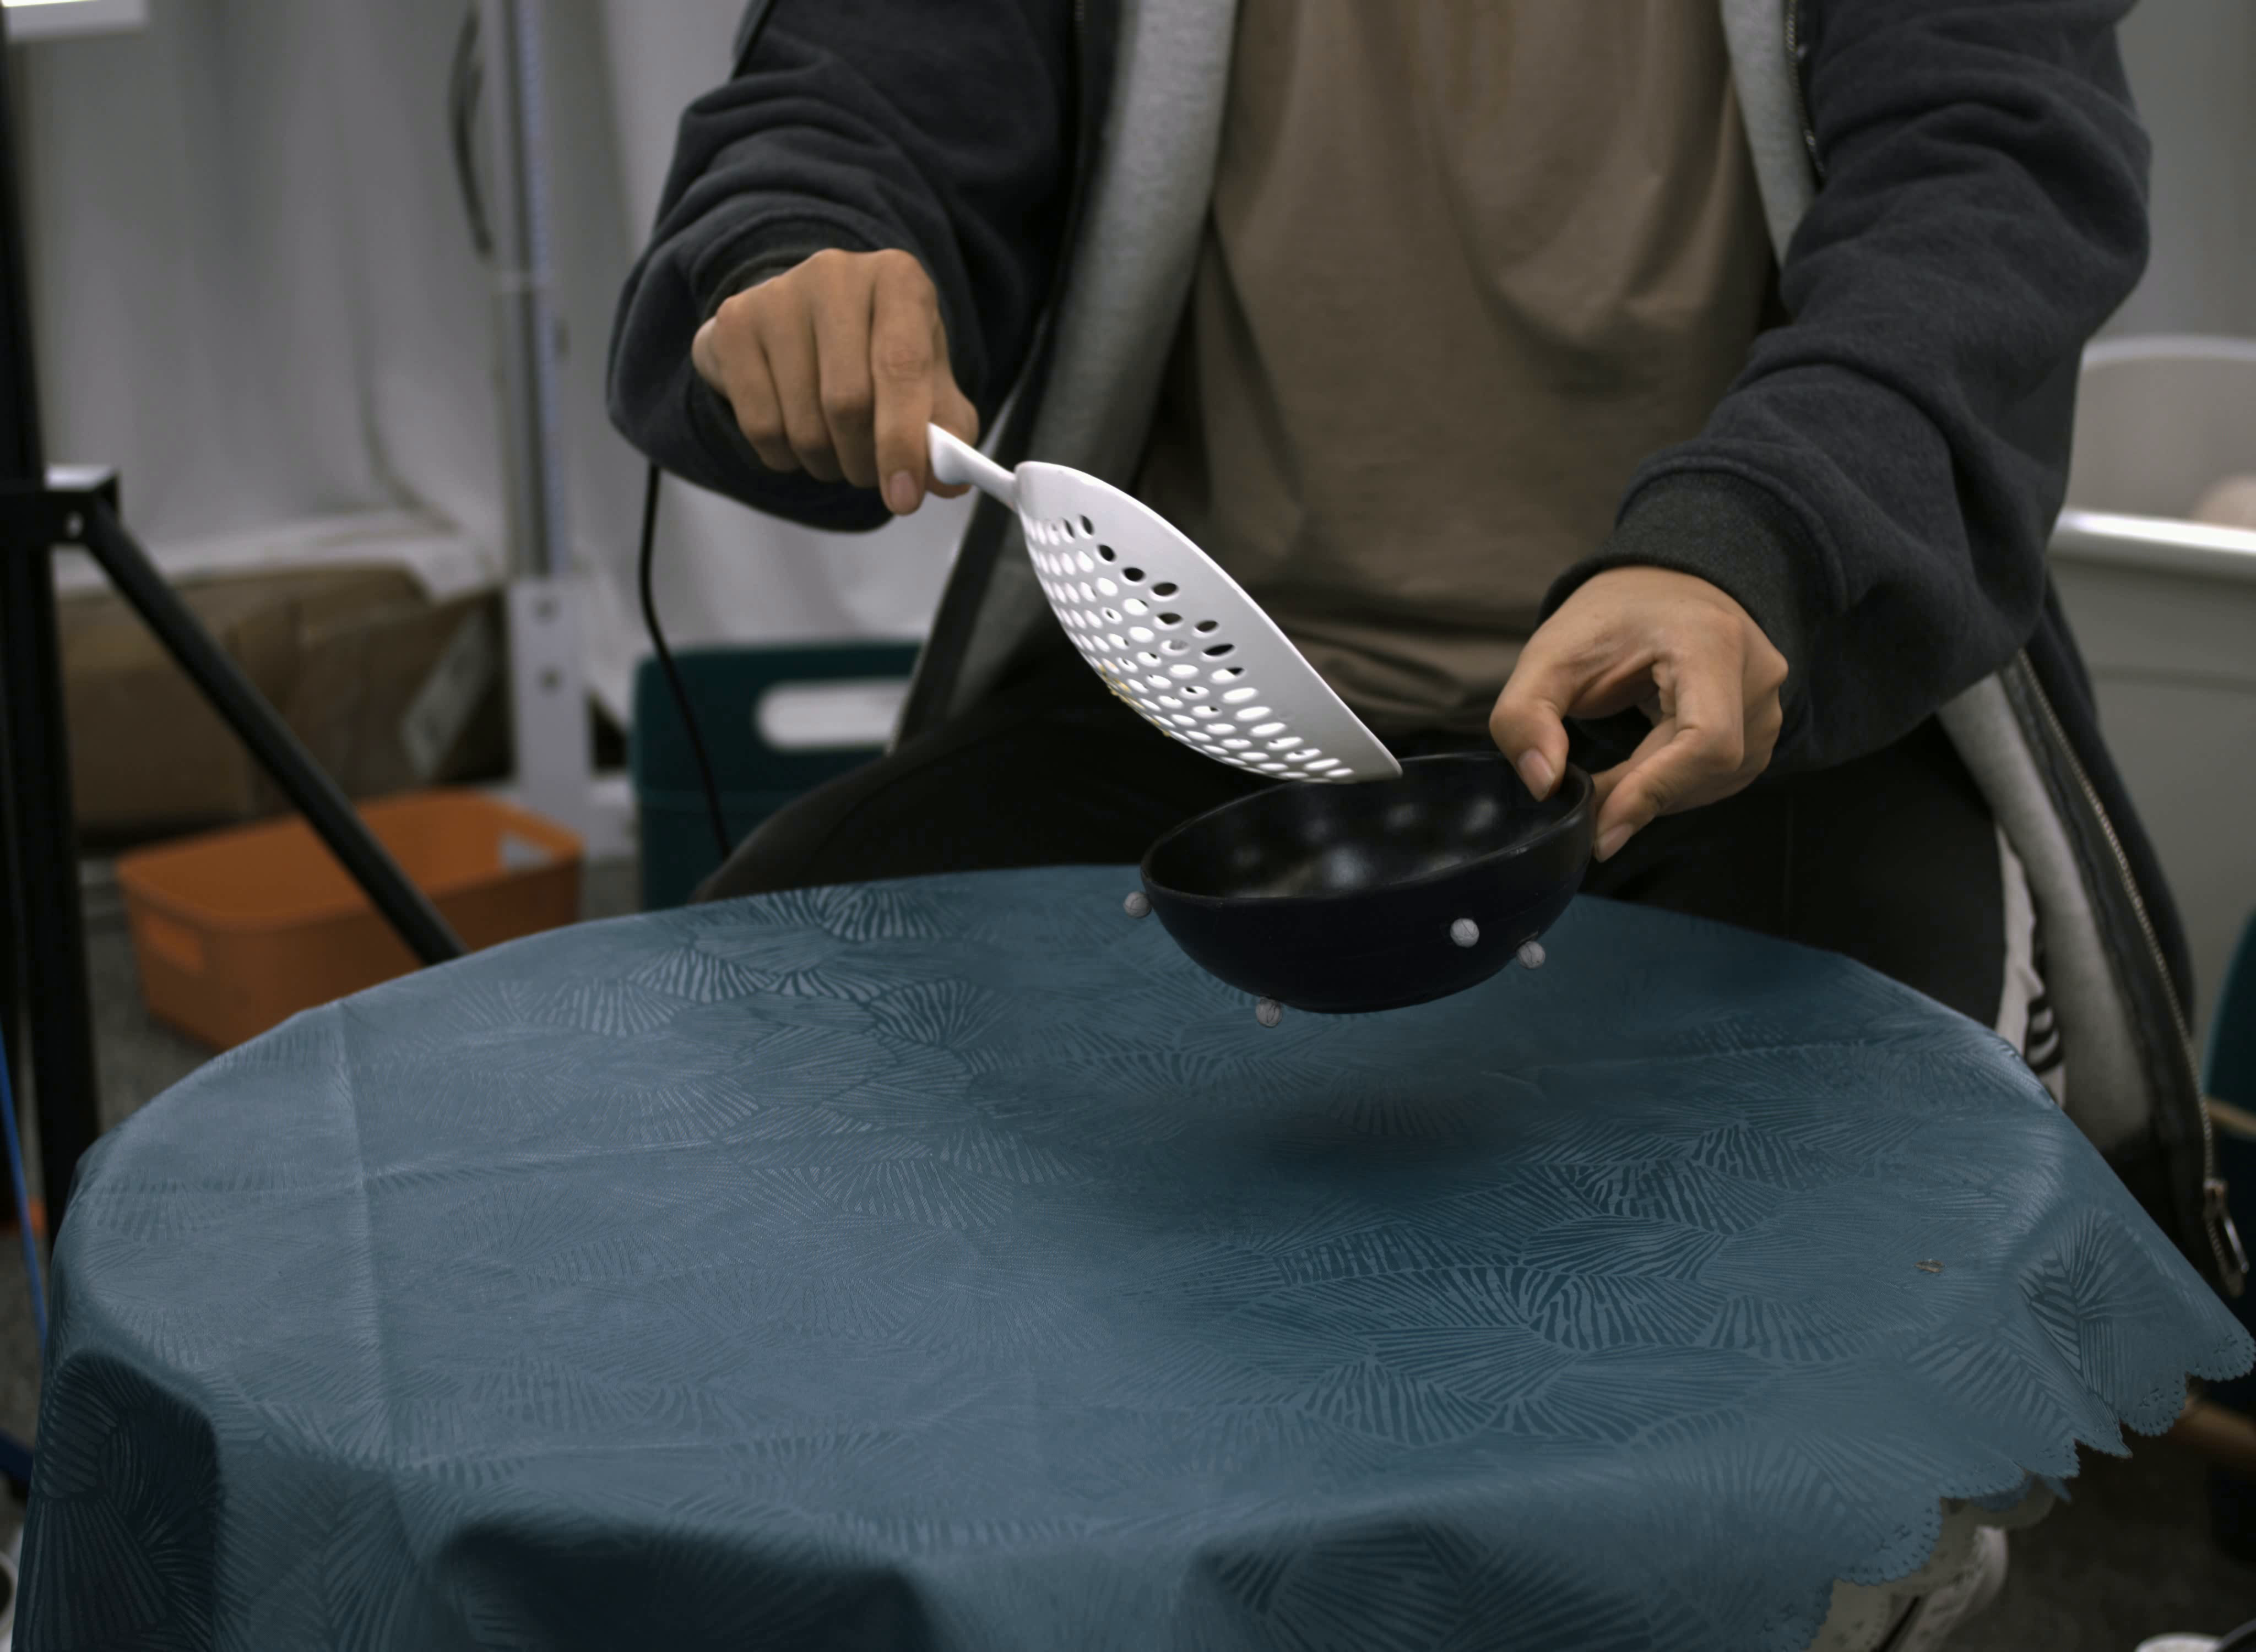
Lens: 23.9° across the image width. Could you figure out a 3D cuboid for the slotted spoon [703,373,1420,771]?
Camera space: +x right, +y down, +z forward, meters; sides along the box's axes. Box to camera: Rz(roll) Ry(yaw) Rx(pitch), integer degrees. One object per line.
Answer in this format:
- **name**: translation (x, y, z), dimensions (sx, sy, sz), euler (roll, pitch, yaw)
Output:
- **slotted spoon**: translation (-0.035, -0.093, 1.656), dimensions (0.050, 0.134, 0.356), euler (-49, 37, -2)
